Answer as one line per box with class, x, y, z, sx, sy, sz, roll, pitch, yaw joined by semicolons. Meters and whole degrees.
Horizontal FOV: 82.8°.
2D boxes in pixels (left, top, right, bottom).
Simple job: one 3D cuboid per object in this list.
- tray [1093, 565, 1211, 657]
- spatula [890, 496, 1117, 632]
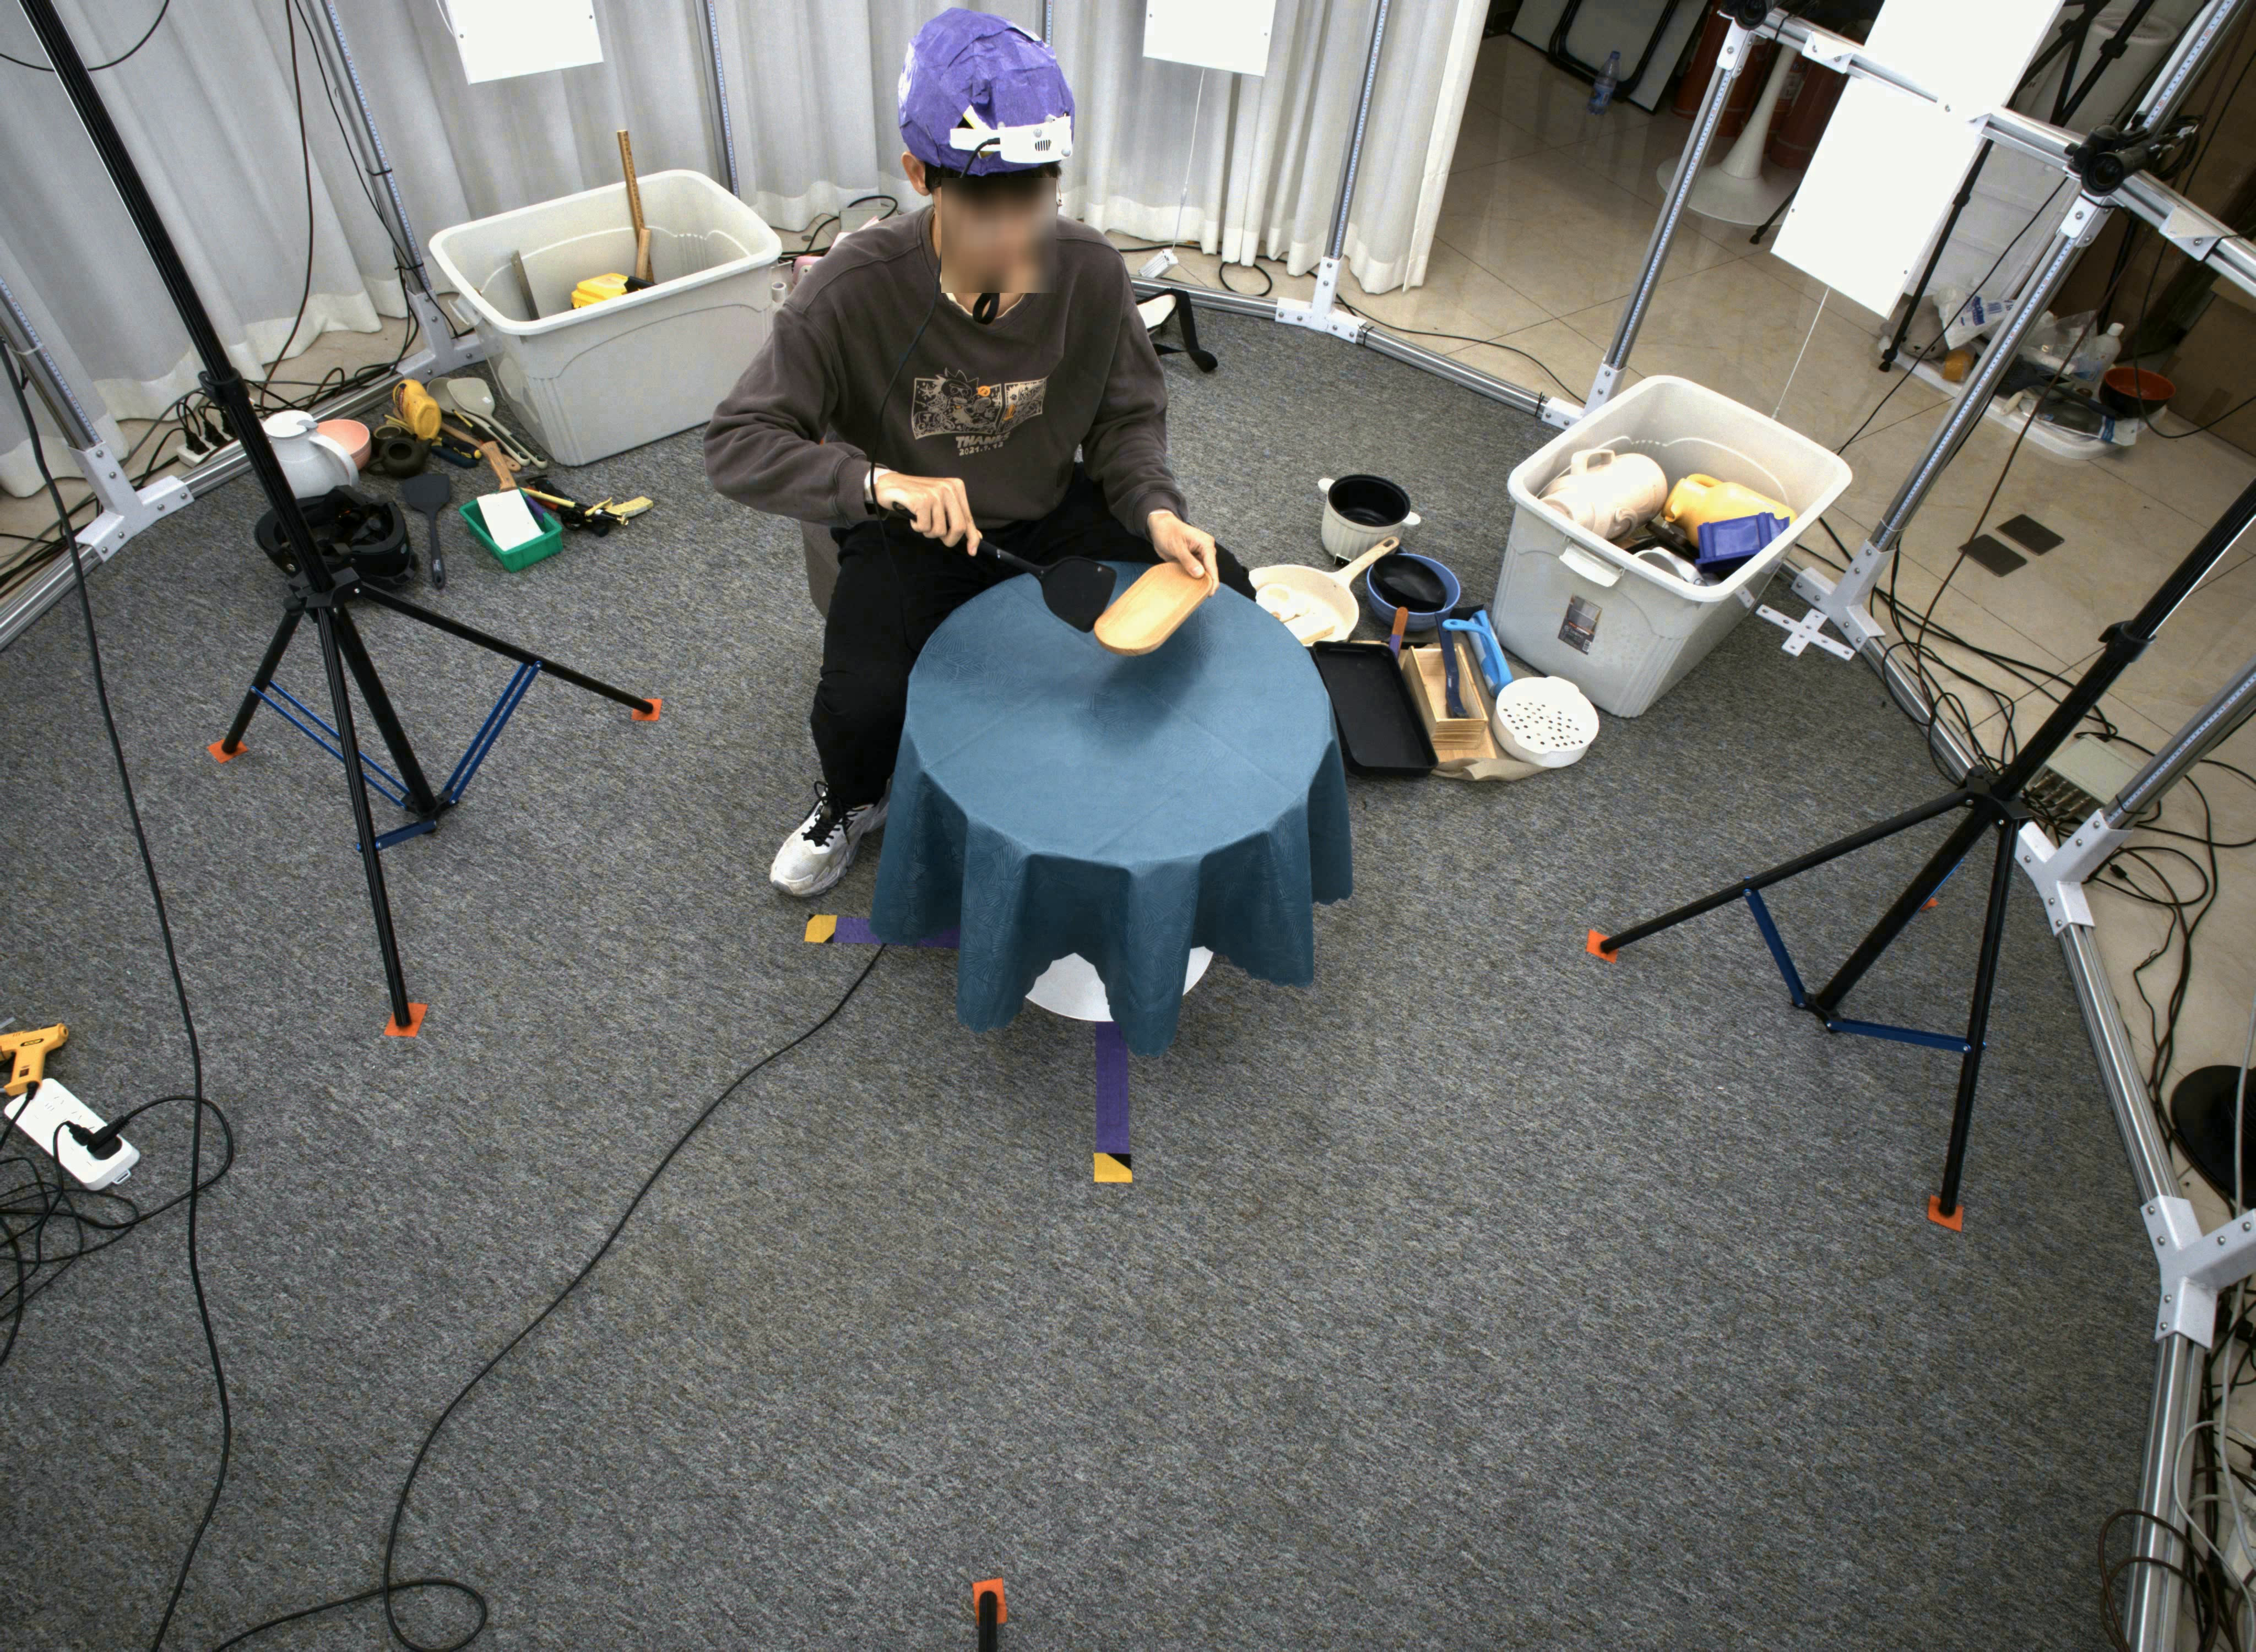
tray;0.036;-0.305;1.811;0.102;0.020;0.235;21;48;23
spatula;-0.165;-0.363;1.720;0.322;0.099;0.041;20;7;-31
